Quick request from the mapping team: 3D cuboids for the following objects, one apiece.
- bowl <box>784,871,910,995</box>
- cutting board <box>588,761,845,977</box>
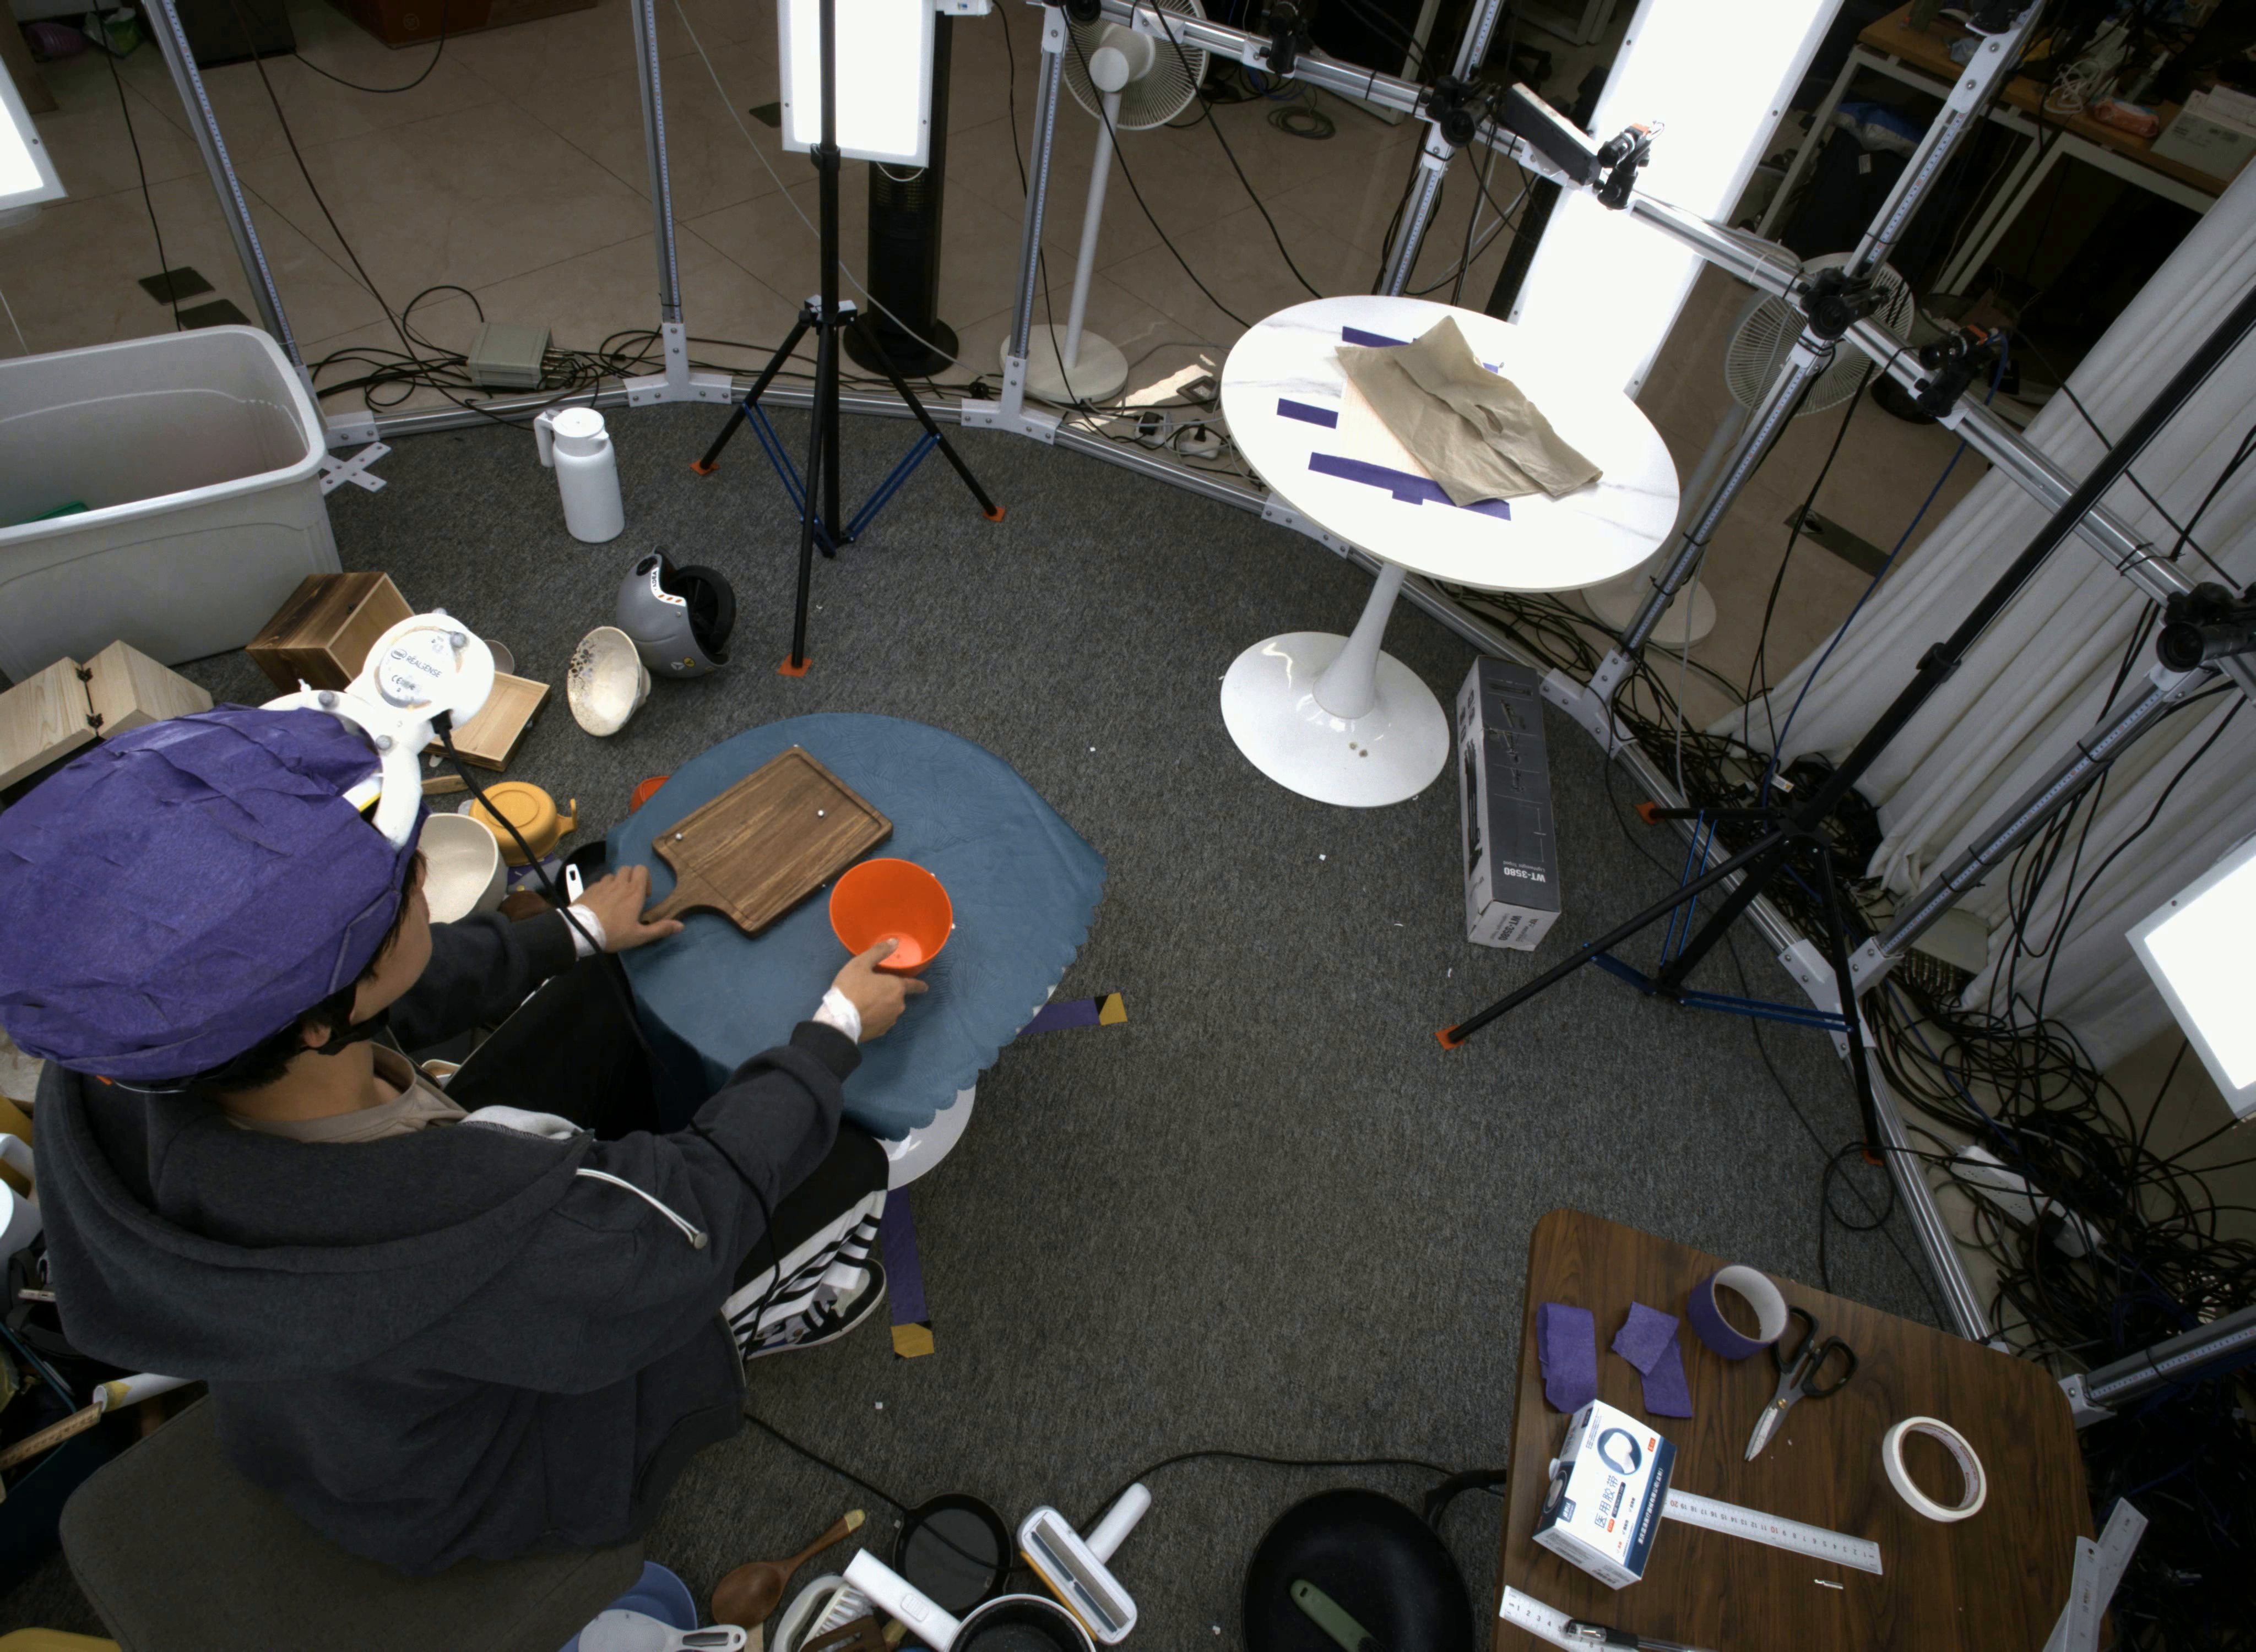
[{"bbox_3d":[-0.340,0.142,1.580,0.147,0.107,0.145,7,52,-8],"label":"bowl"},{"bbox_3d":[-0.548,0.066,1.635,0.197,0.023,0.352,35,54,13],"label":"cutting board"}]
